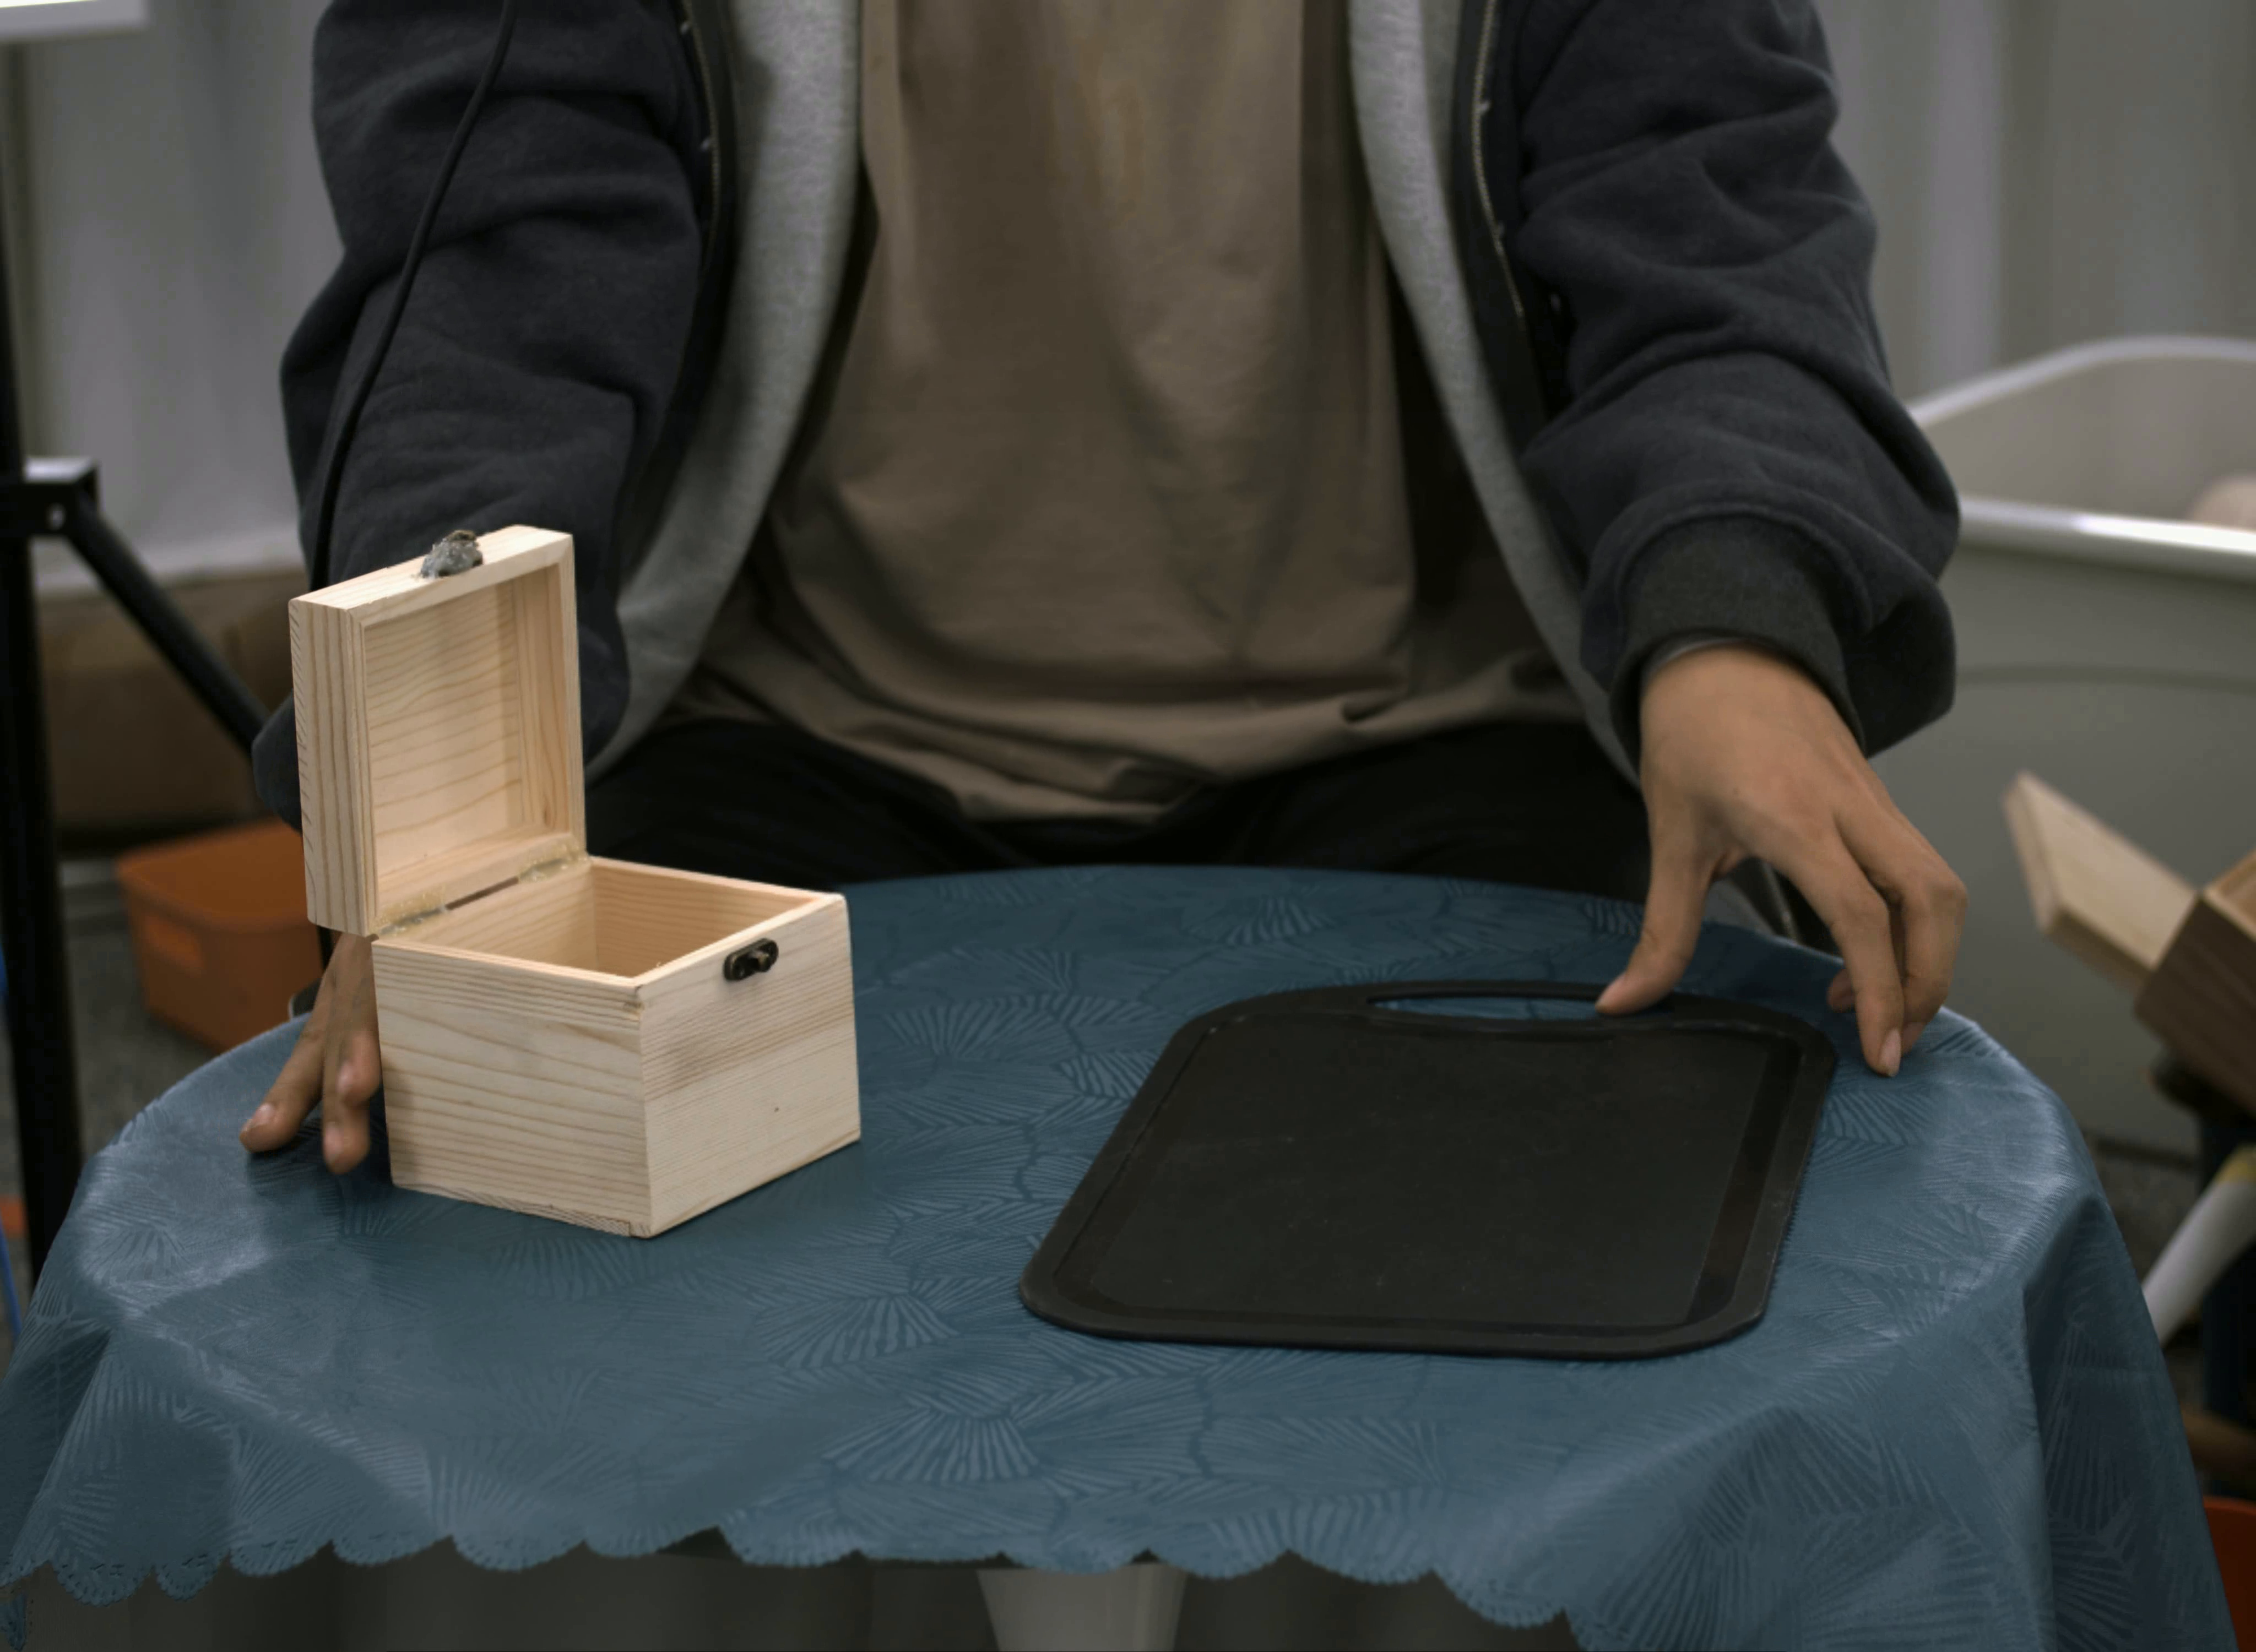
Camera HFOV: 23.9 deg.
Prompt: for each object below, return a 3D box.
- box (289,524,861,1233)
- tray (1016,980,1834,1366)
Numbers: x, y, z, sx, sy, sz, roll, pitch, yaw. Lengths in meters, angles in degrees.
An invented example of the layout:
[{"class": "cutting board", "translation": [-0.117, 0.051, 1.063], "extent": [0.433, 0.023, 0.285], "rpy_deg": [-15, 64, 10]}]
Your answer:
[{"class": "box", "translation": [-0.162, 0.012, 1.589], "extent": [0.136, 0.184, 0.100], "rpy_deg": [6, 17, 35]}, {"class": "tray", "translation": [0.096, 0.095, 1.577], "extent": [0.212, 0.010, 0.323], "rpy_deg": [1, 16, 13]}]
